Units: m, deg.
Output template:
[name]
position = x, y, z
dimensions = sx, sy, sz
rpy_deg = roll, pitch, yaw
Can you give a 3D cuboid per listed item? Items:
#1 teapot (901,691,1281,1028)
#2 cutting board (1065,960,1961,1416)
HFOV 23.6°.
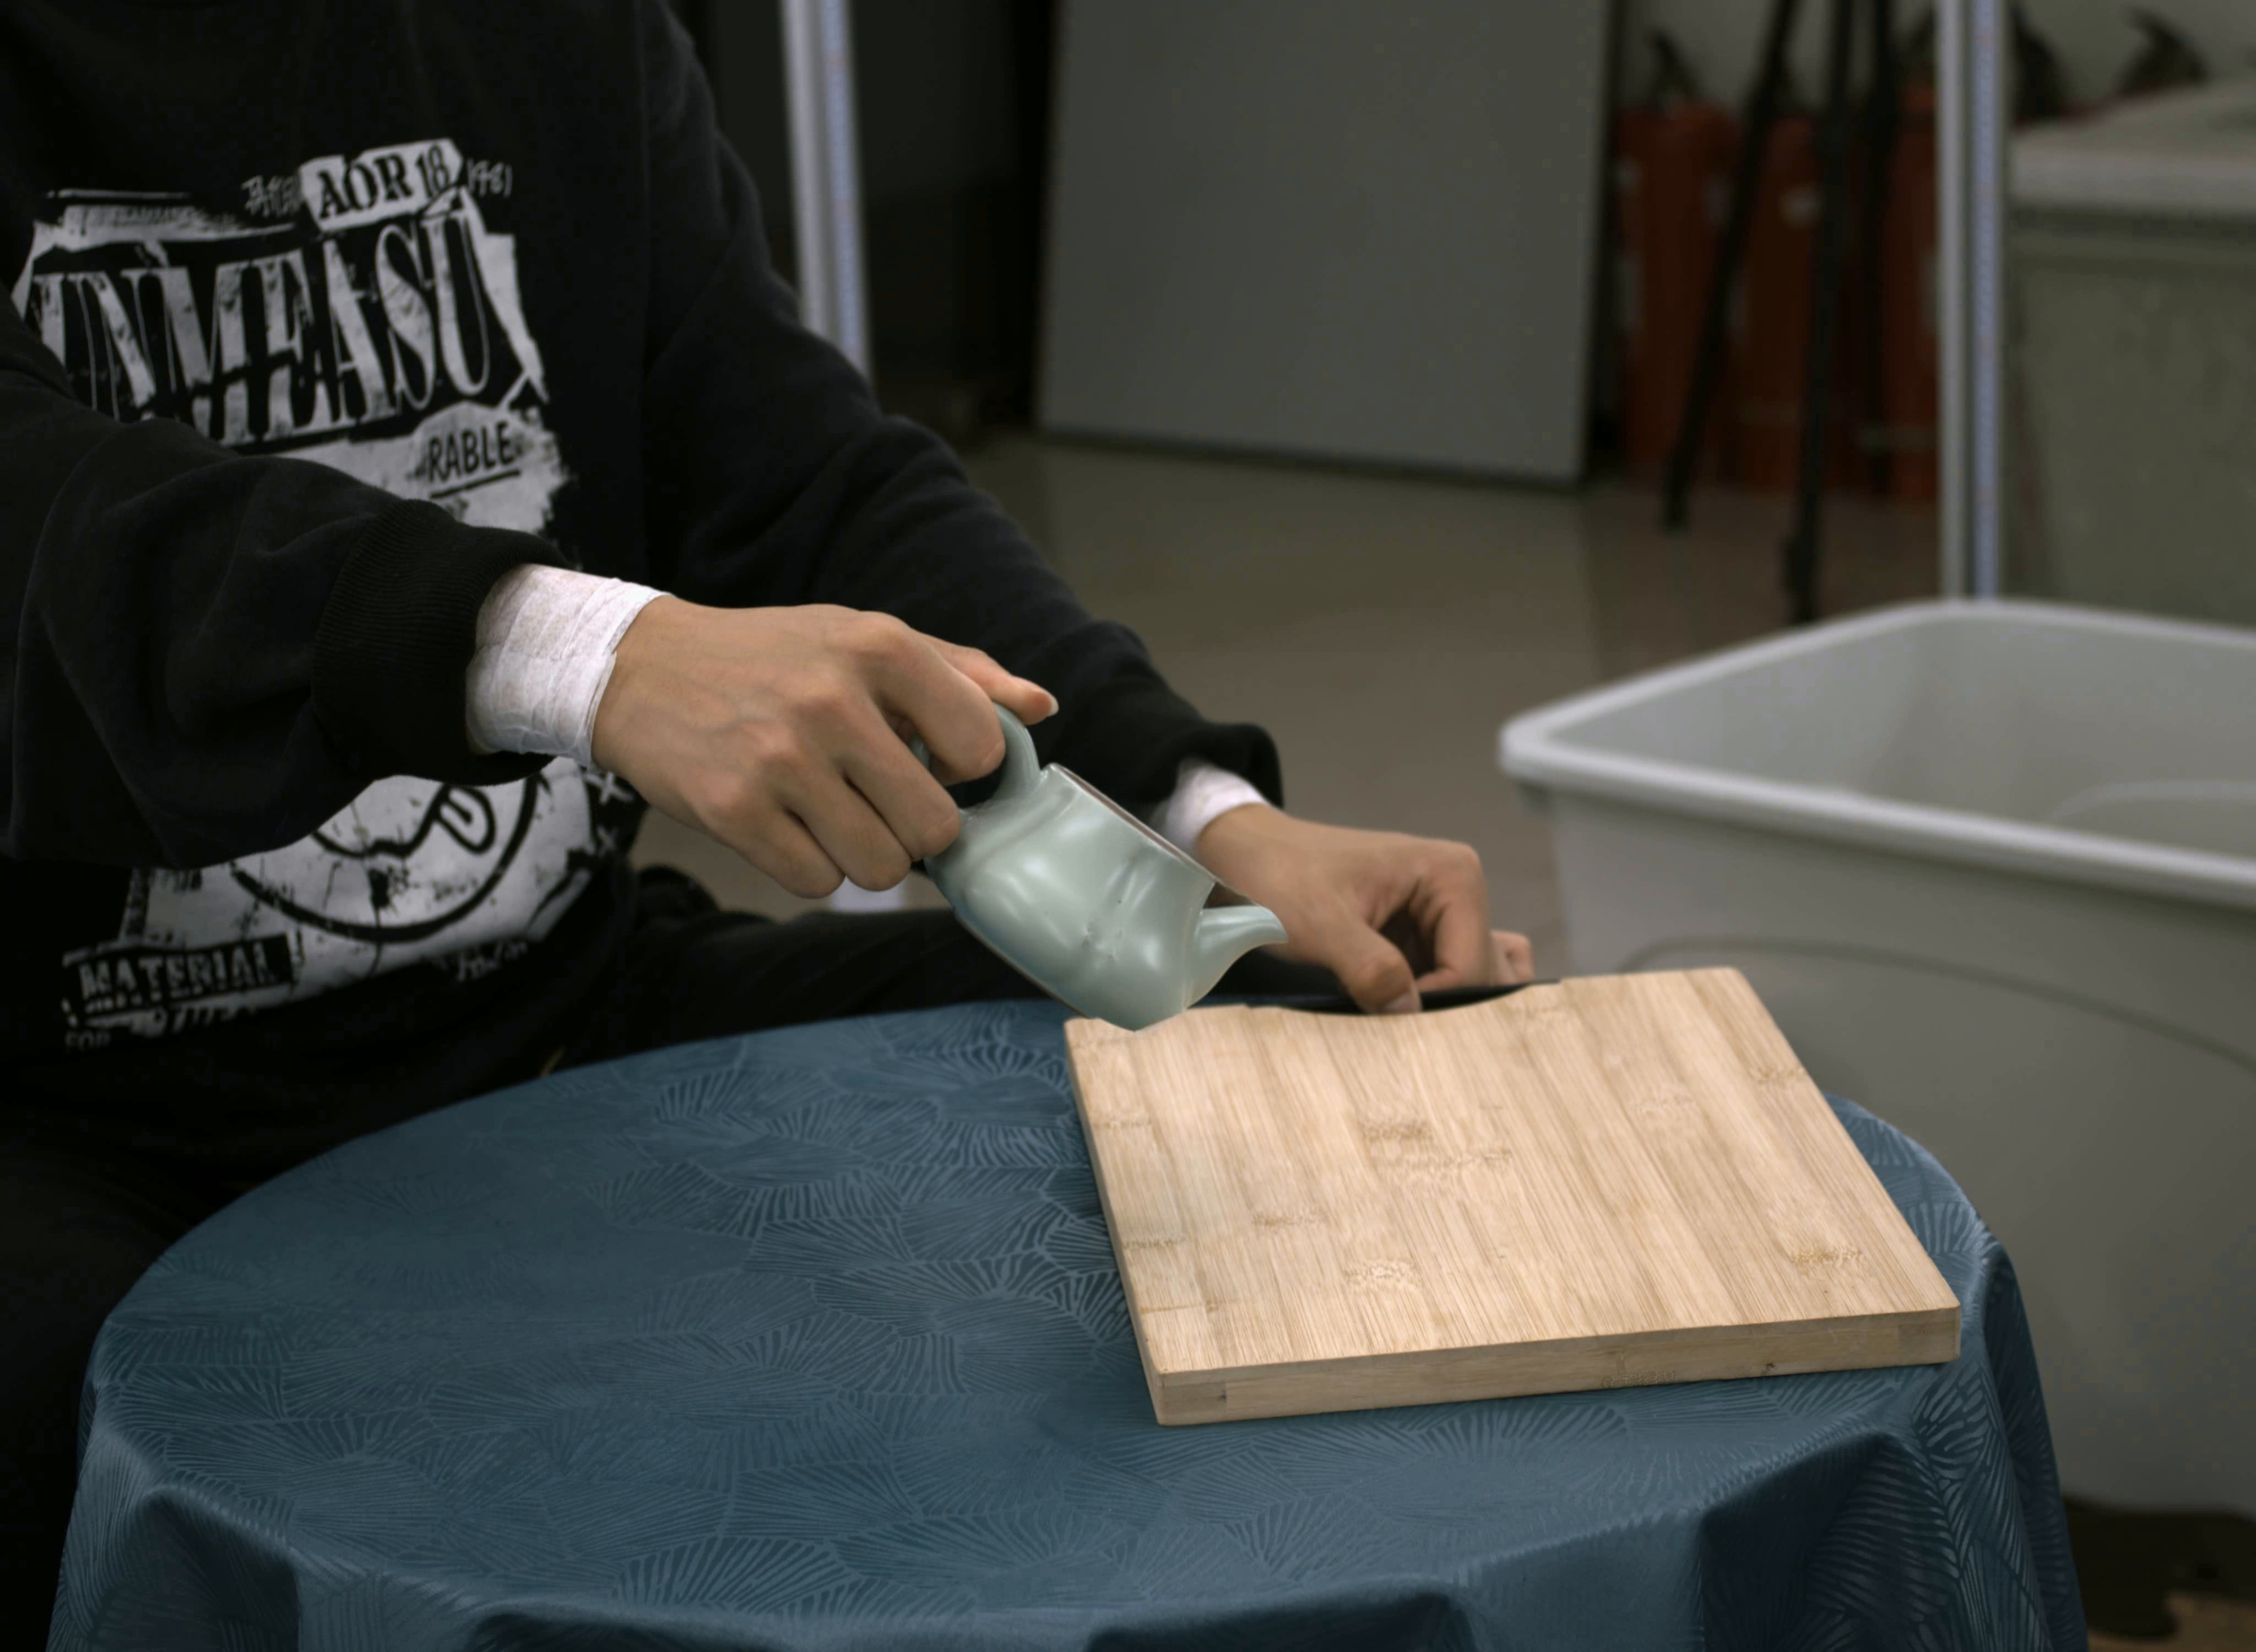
[teapot]
position = -0.019, 0.015, 1.640
dimensions = 0.135, 0.061, 0.097
rpy_deg = 37, 3, -20
[cutting board]
position = 0.111, 0.111, 1.728
dimensions = 0.247, 0.024, 0.350
rpy_deg = -5, 16, -4
